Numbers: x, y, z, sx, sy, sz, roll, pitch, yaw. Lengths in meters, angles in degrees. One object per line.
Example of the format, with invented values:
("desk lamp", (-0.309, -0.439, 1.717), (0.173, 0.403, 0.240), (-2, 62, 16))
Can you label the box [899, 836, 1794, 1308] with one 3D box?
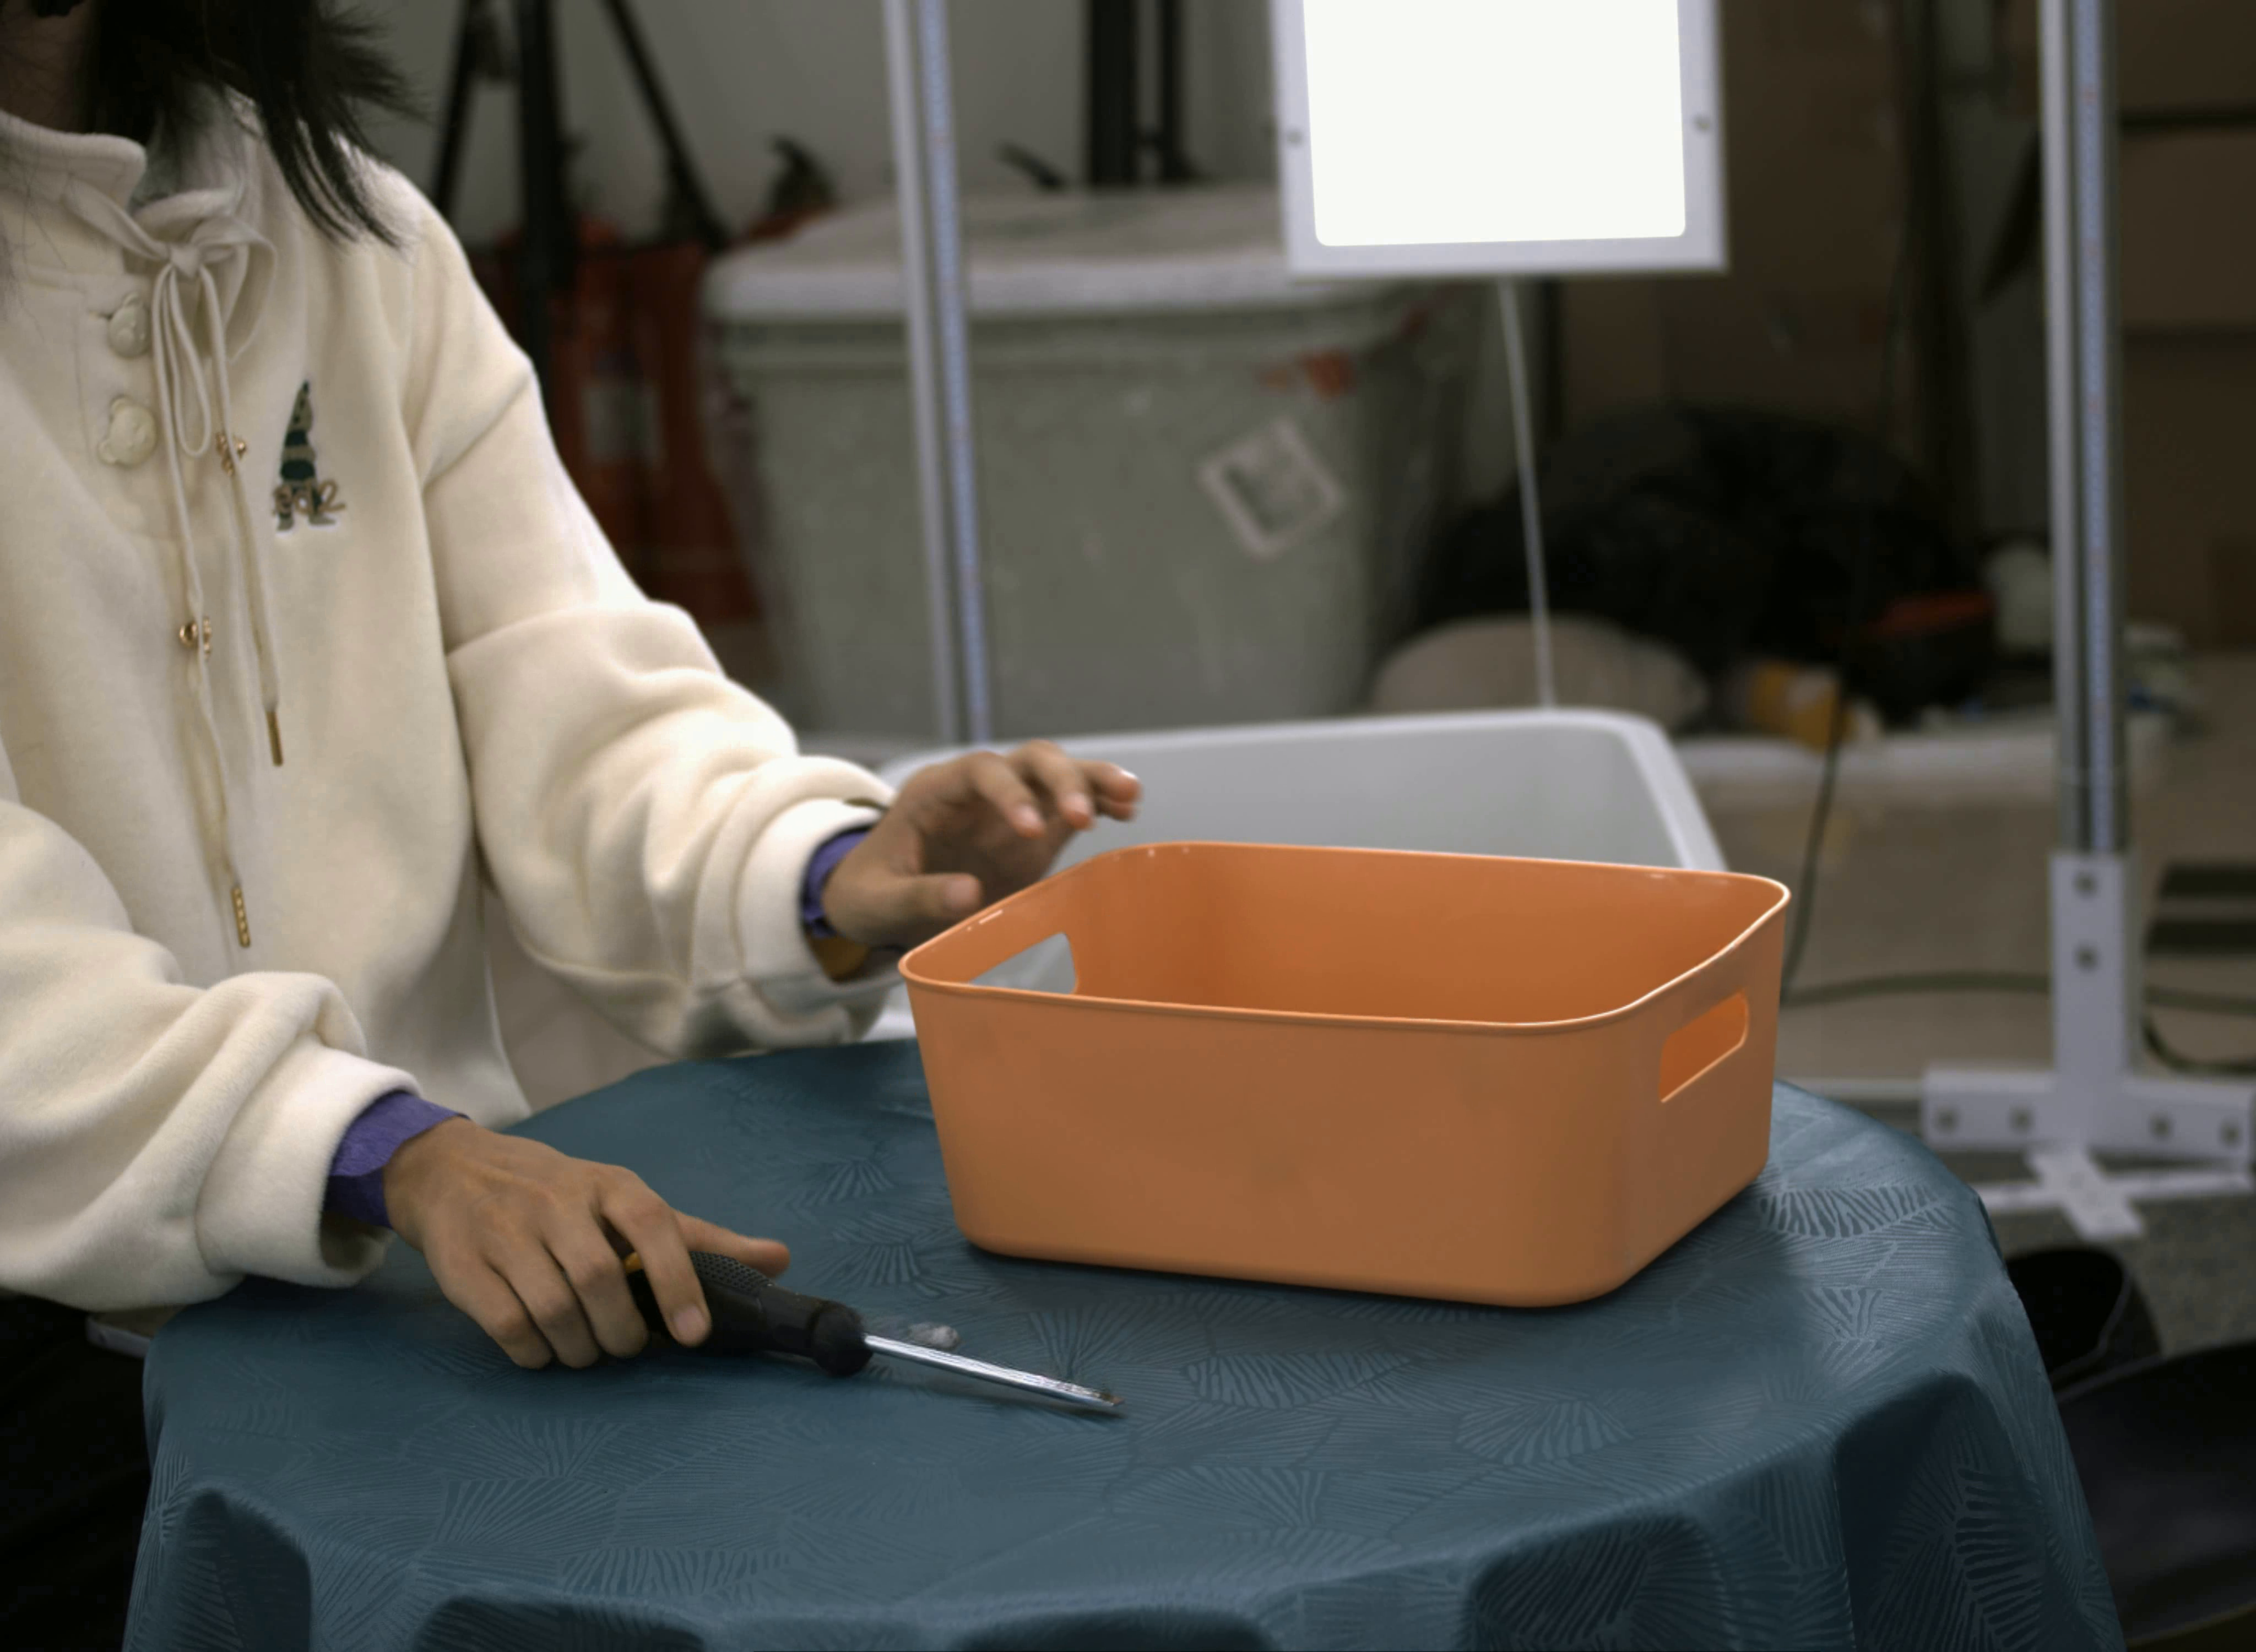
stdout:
("box", (0.077, 0.080, 1.842), (0.278, 0.103, 0.195), (3, 17, 30))

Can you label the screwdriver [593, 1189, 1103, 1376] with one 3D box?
("screwdriver", (-0.088, 0.148, 1.746), (0.201, 0.031, 0.031), (14, 21, 31))
